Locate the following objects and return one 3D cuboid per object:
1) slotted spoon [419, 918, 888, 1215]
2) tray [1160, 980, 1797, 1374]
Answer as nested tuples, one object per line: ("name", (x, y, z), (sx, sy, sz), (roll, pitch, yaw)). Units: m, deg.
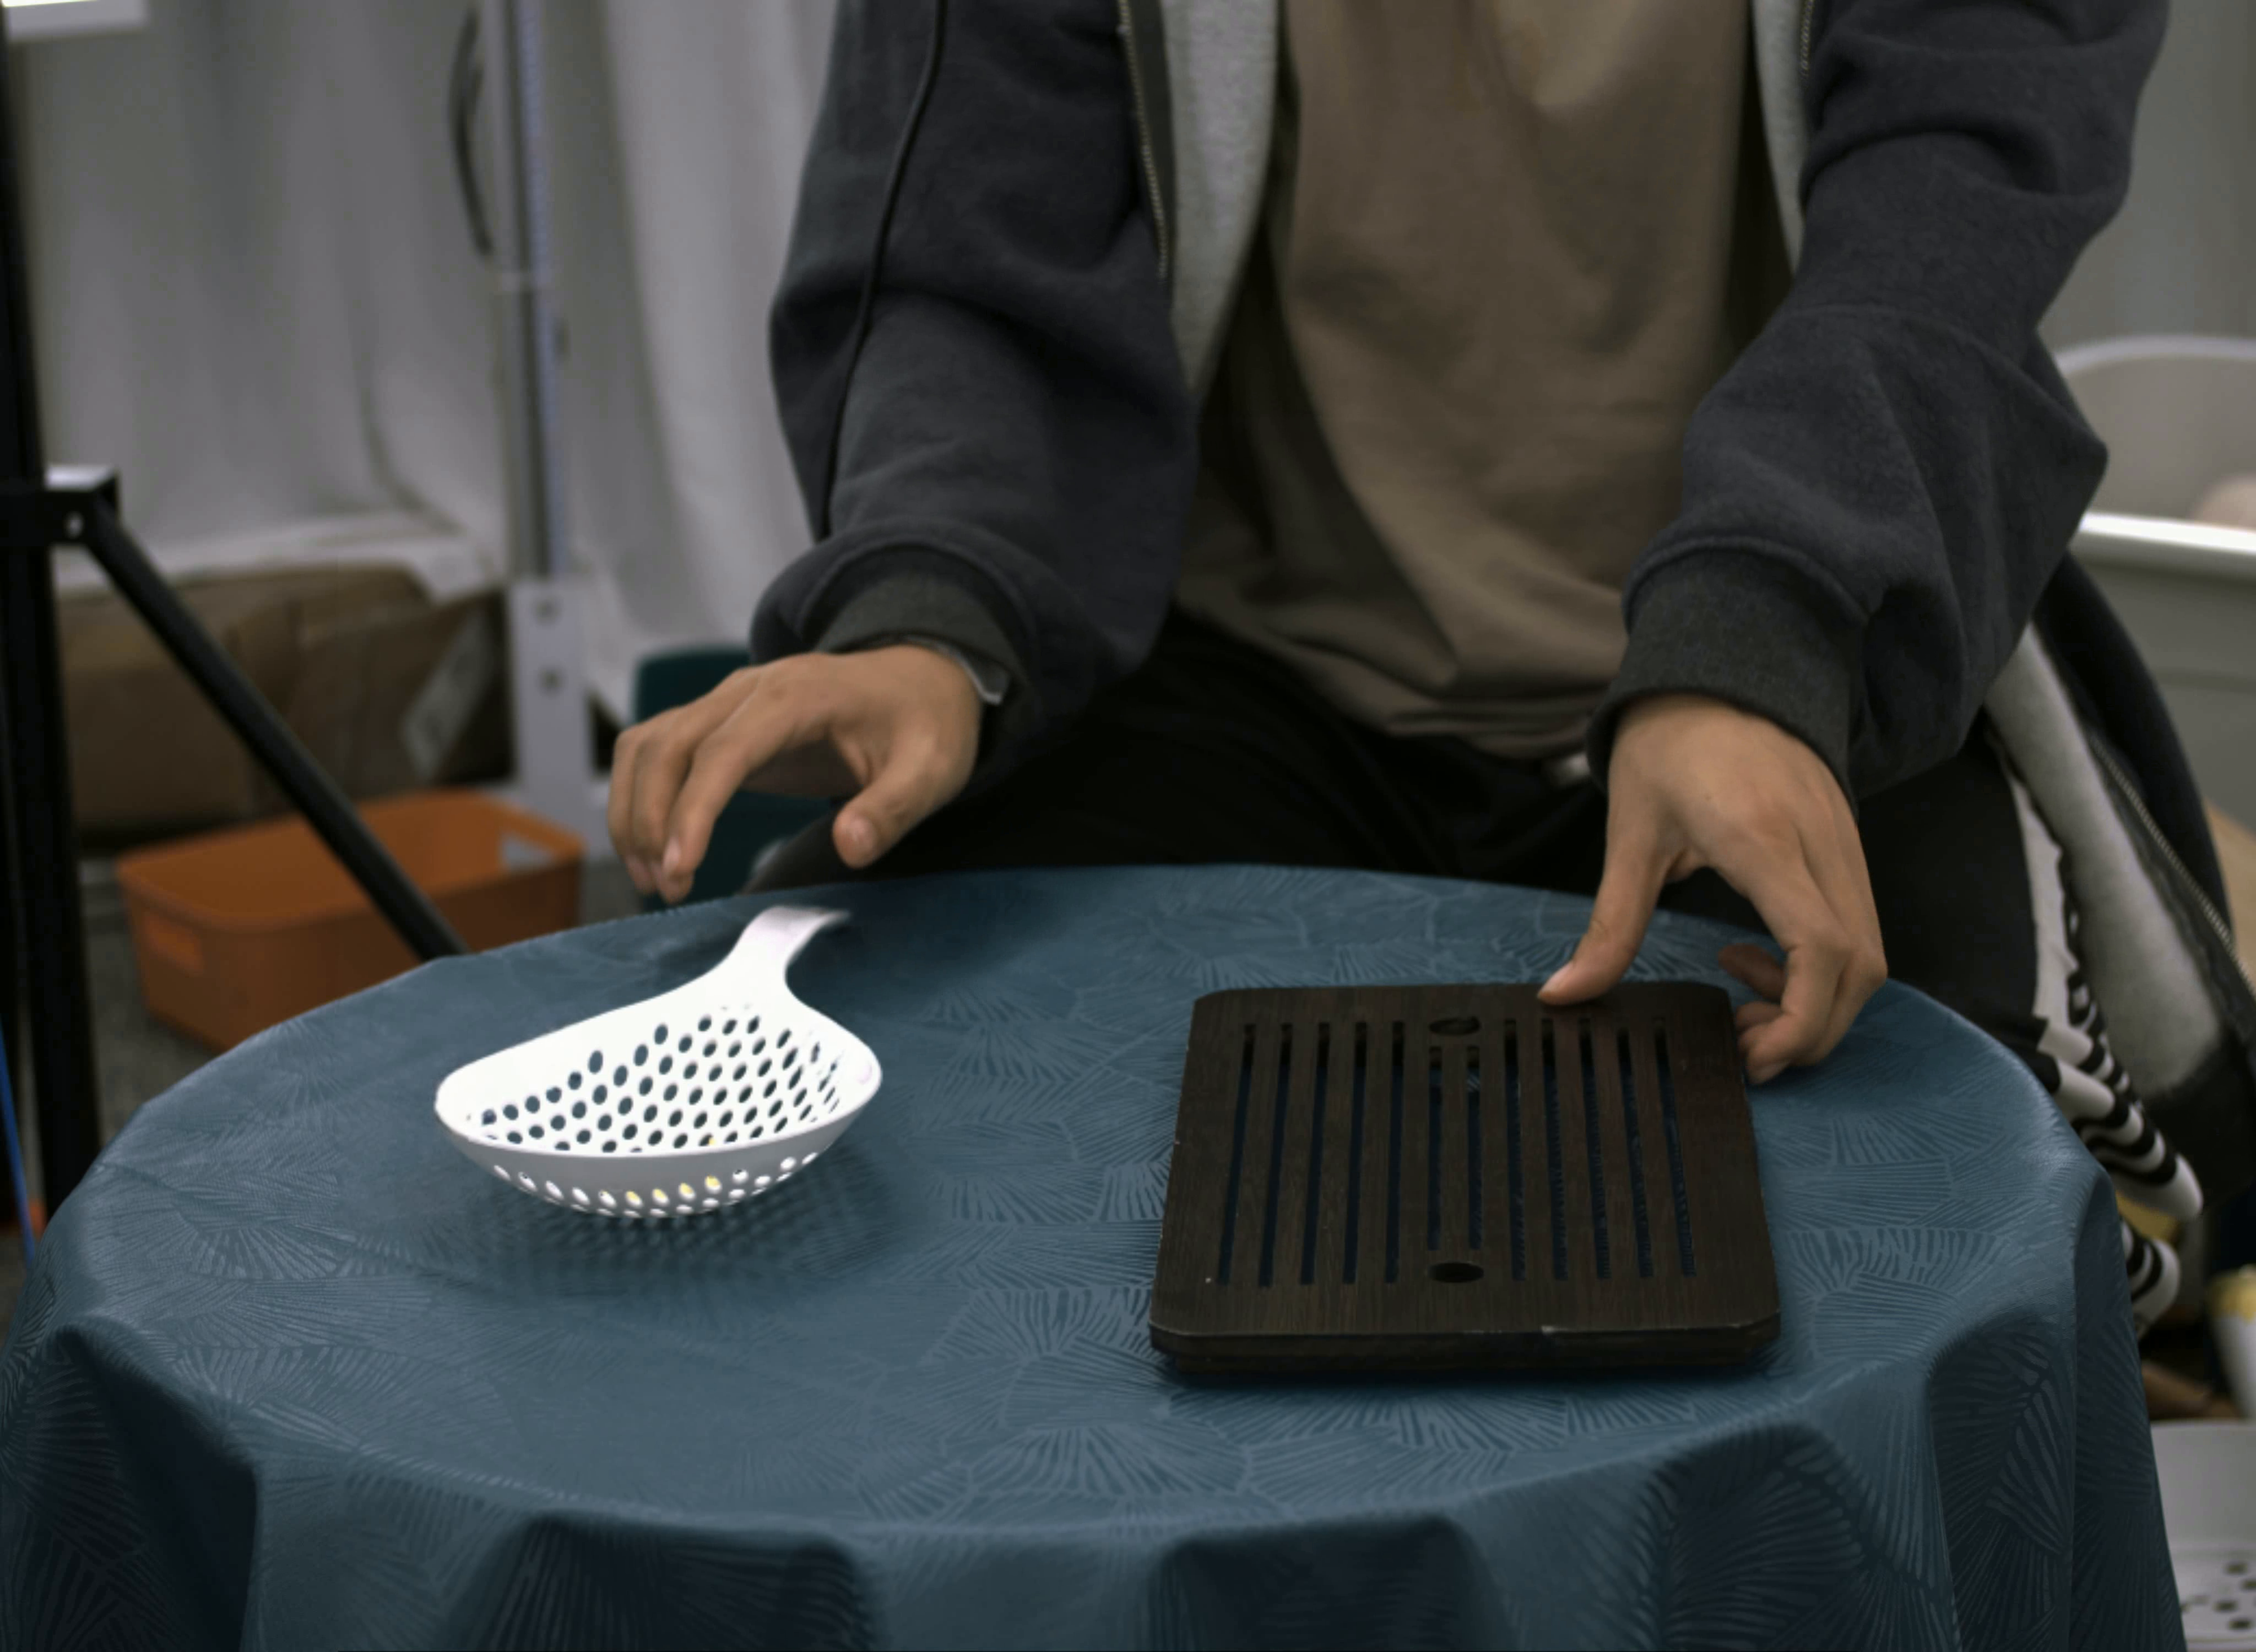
("slotted spoon", (-0.124, 0.061, 1.670), (0.137, 0.050, 0.347), (-3, 16, 8))
("tray", (0.101, 0.100, 1.540), (0.170, 0.018, 0.306), (-1, 16, 4))
